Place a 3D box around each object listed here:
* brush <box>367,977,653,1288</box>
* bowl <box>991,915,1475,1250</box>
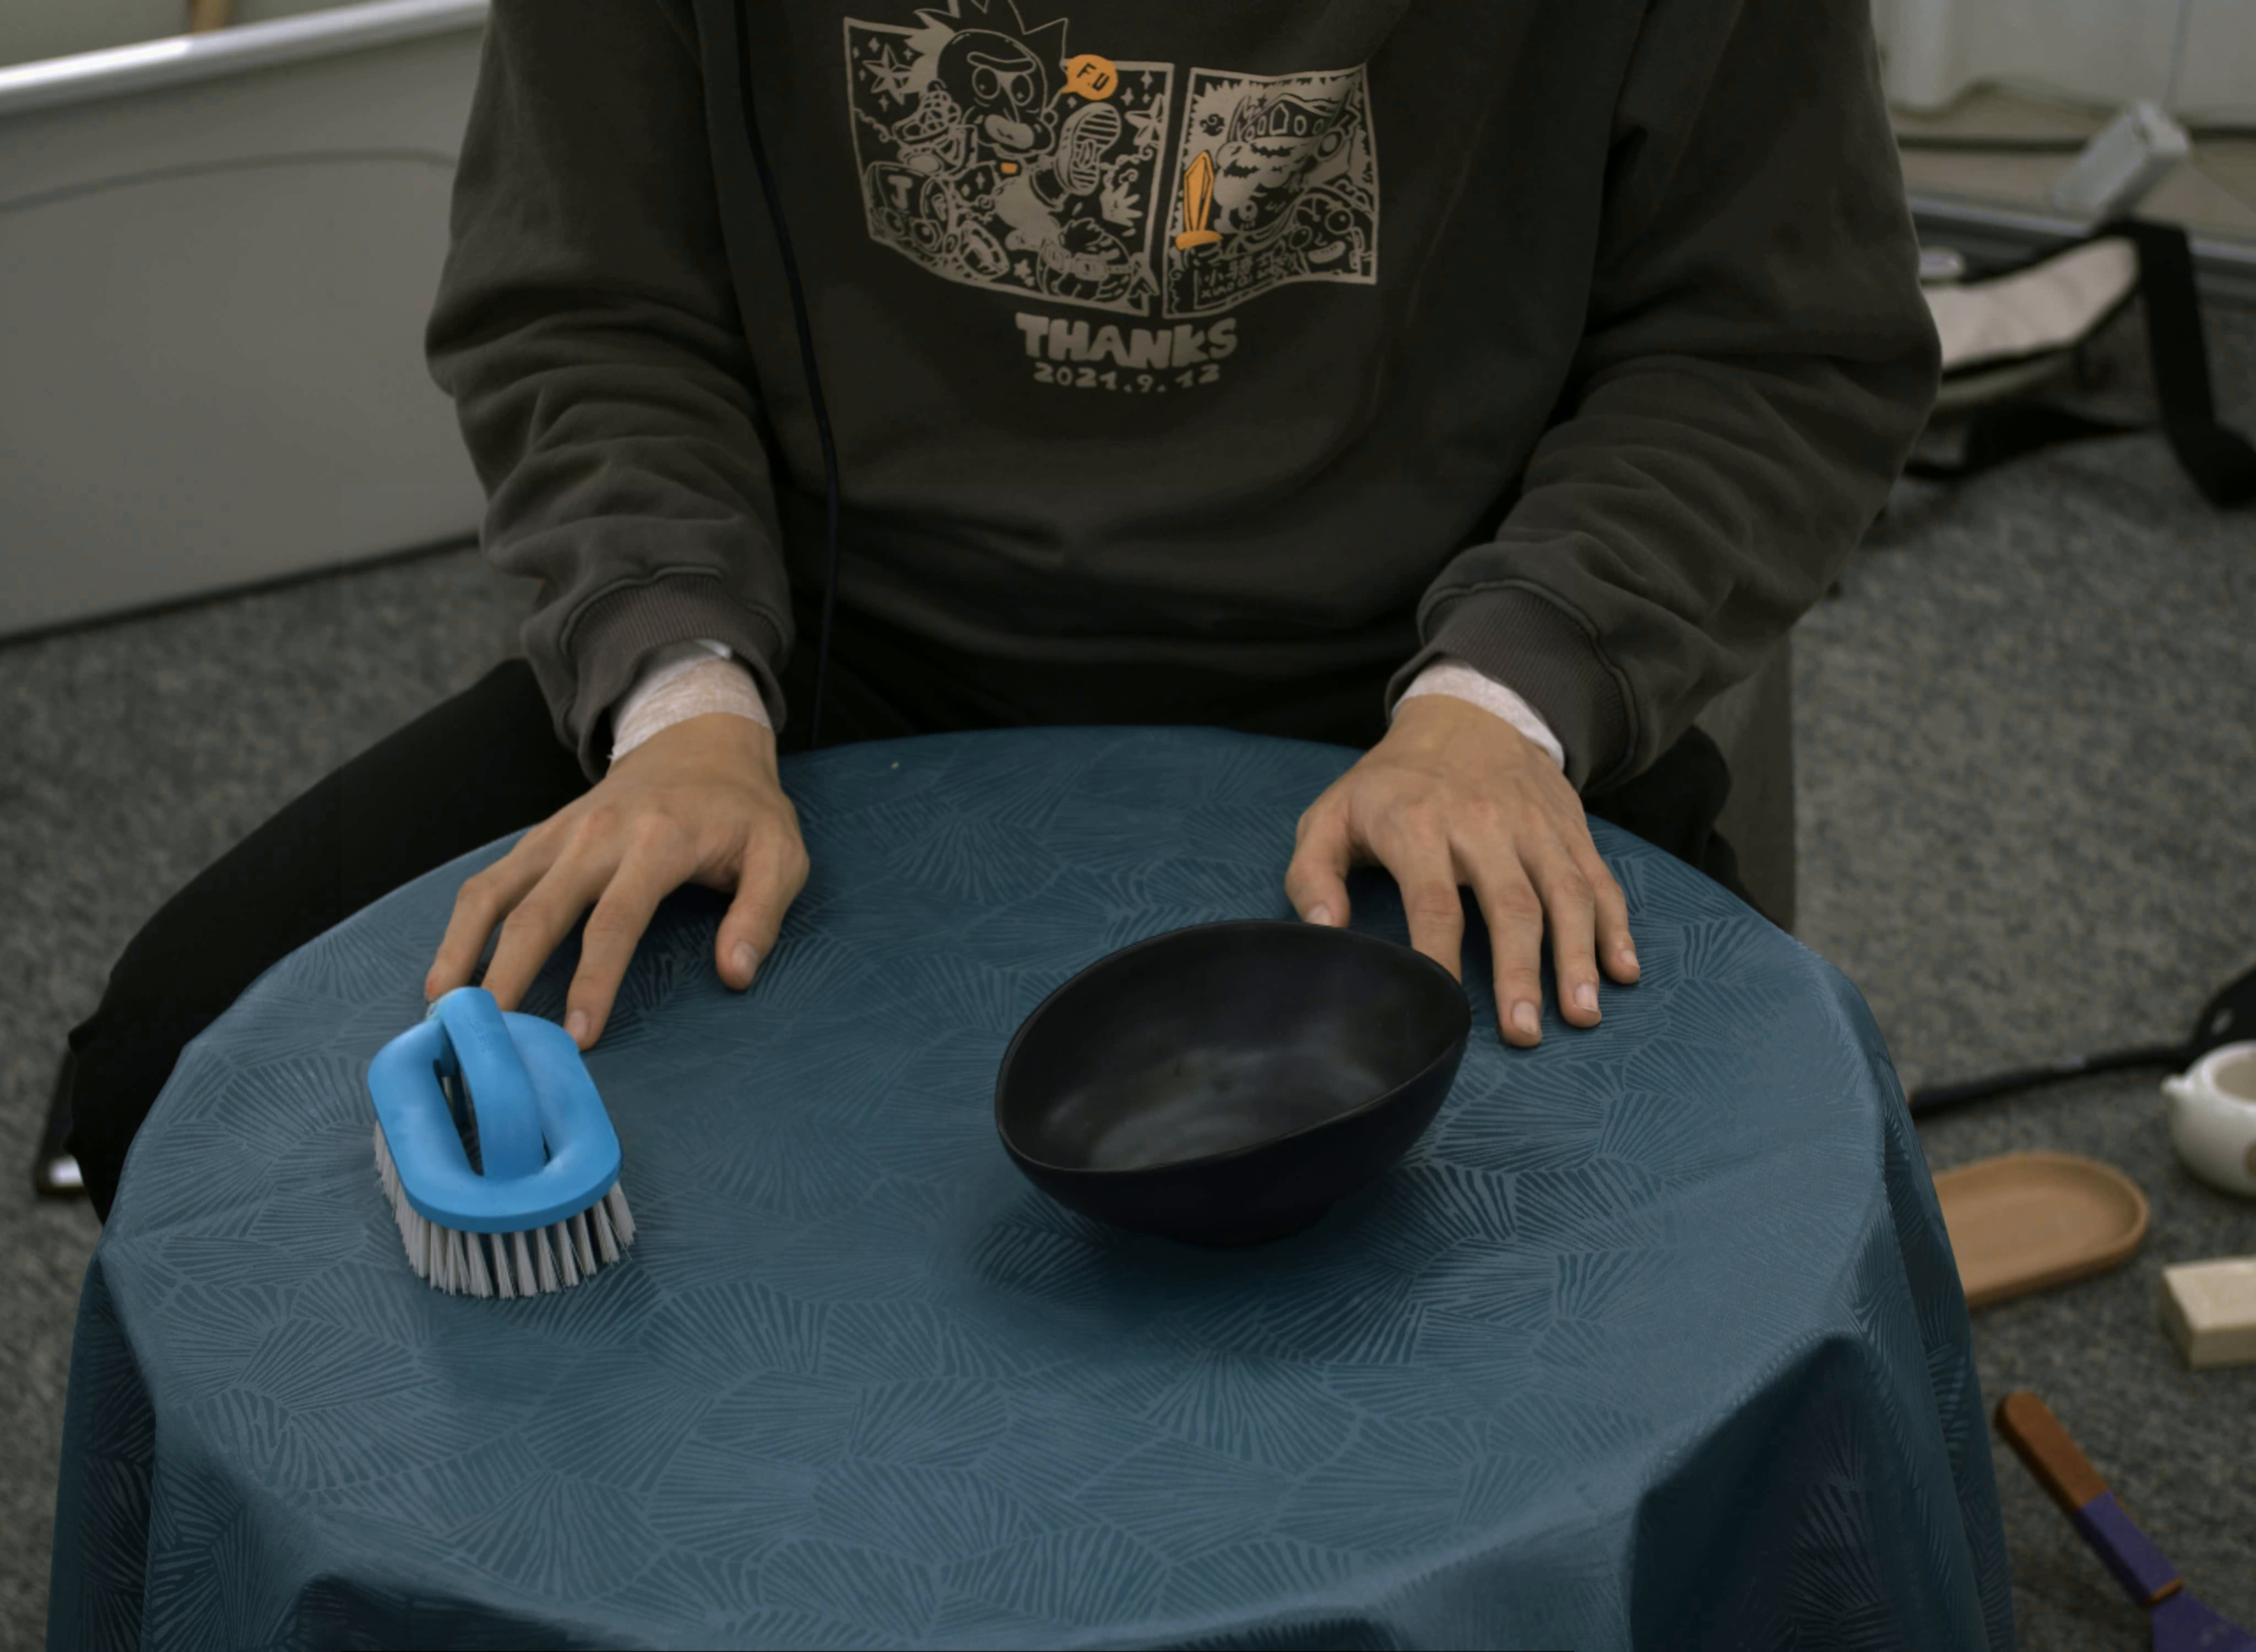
[{"bbox_3d":[-0.210,0.093,1.866,0.084,0.063,0.143,-13,28,-9],"label":"brush"},{"bbox_3d":[0.037,0.094,1.842,0.172,0.066,0.137,-24,33,-32],"label":"bowl"}]
